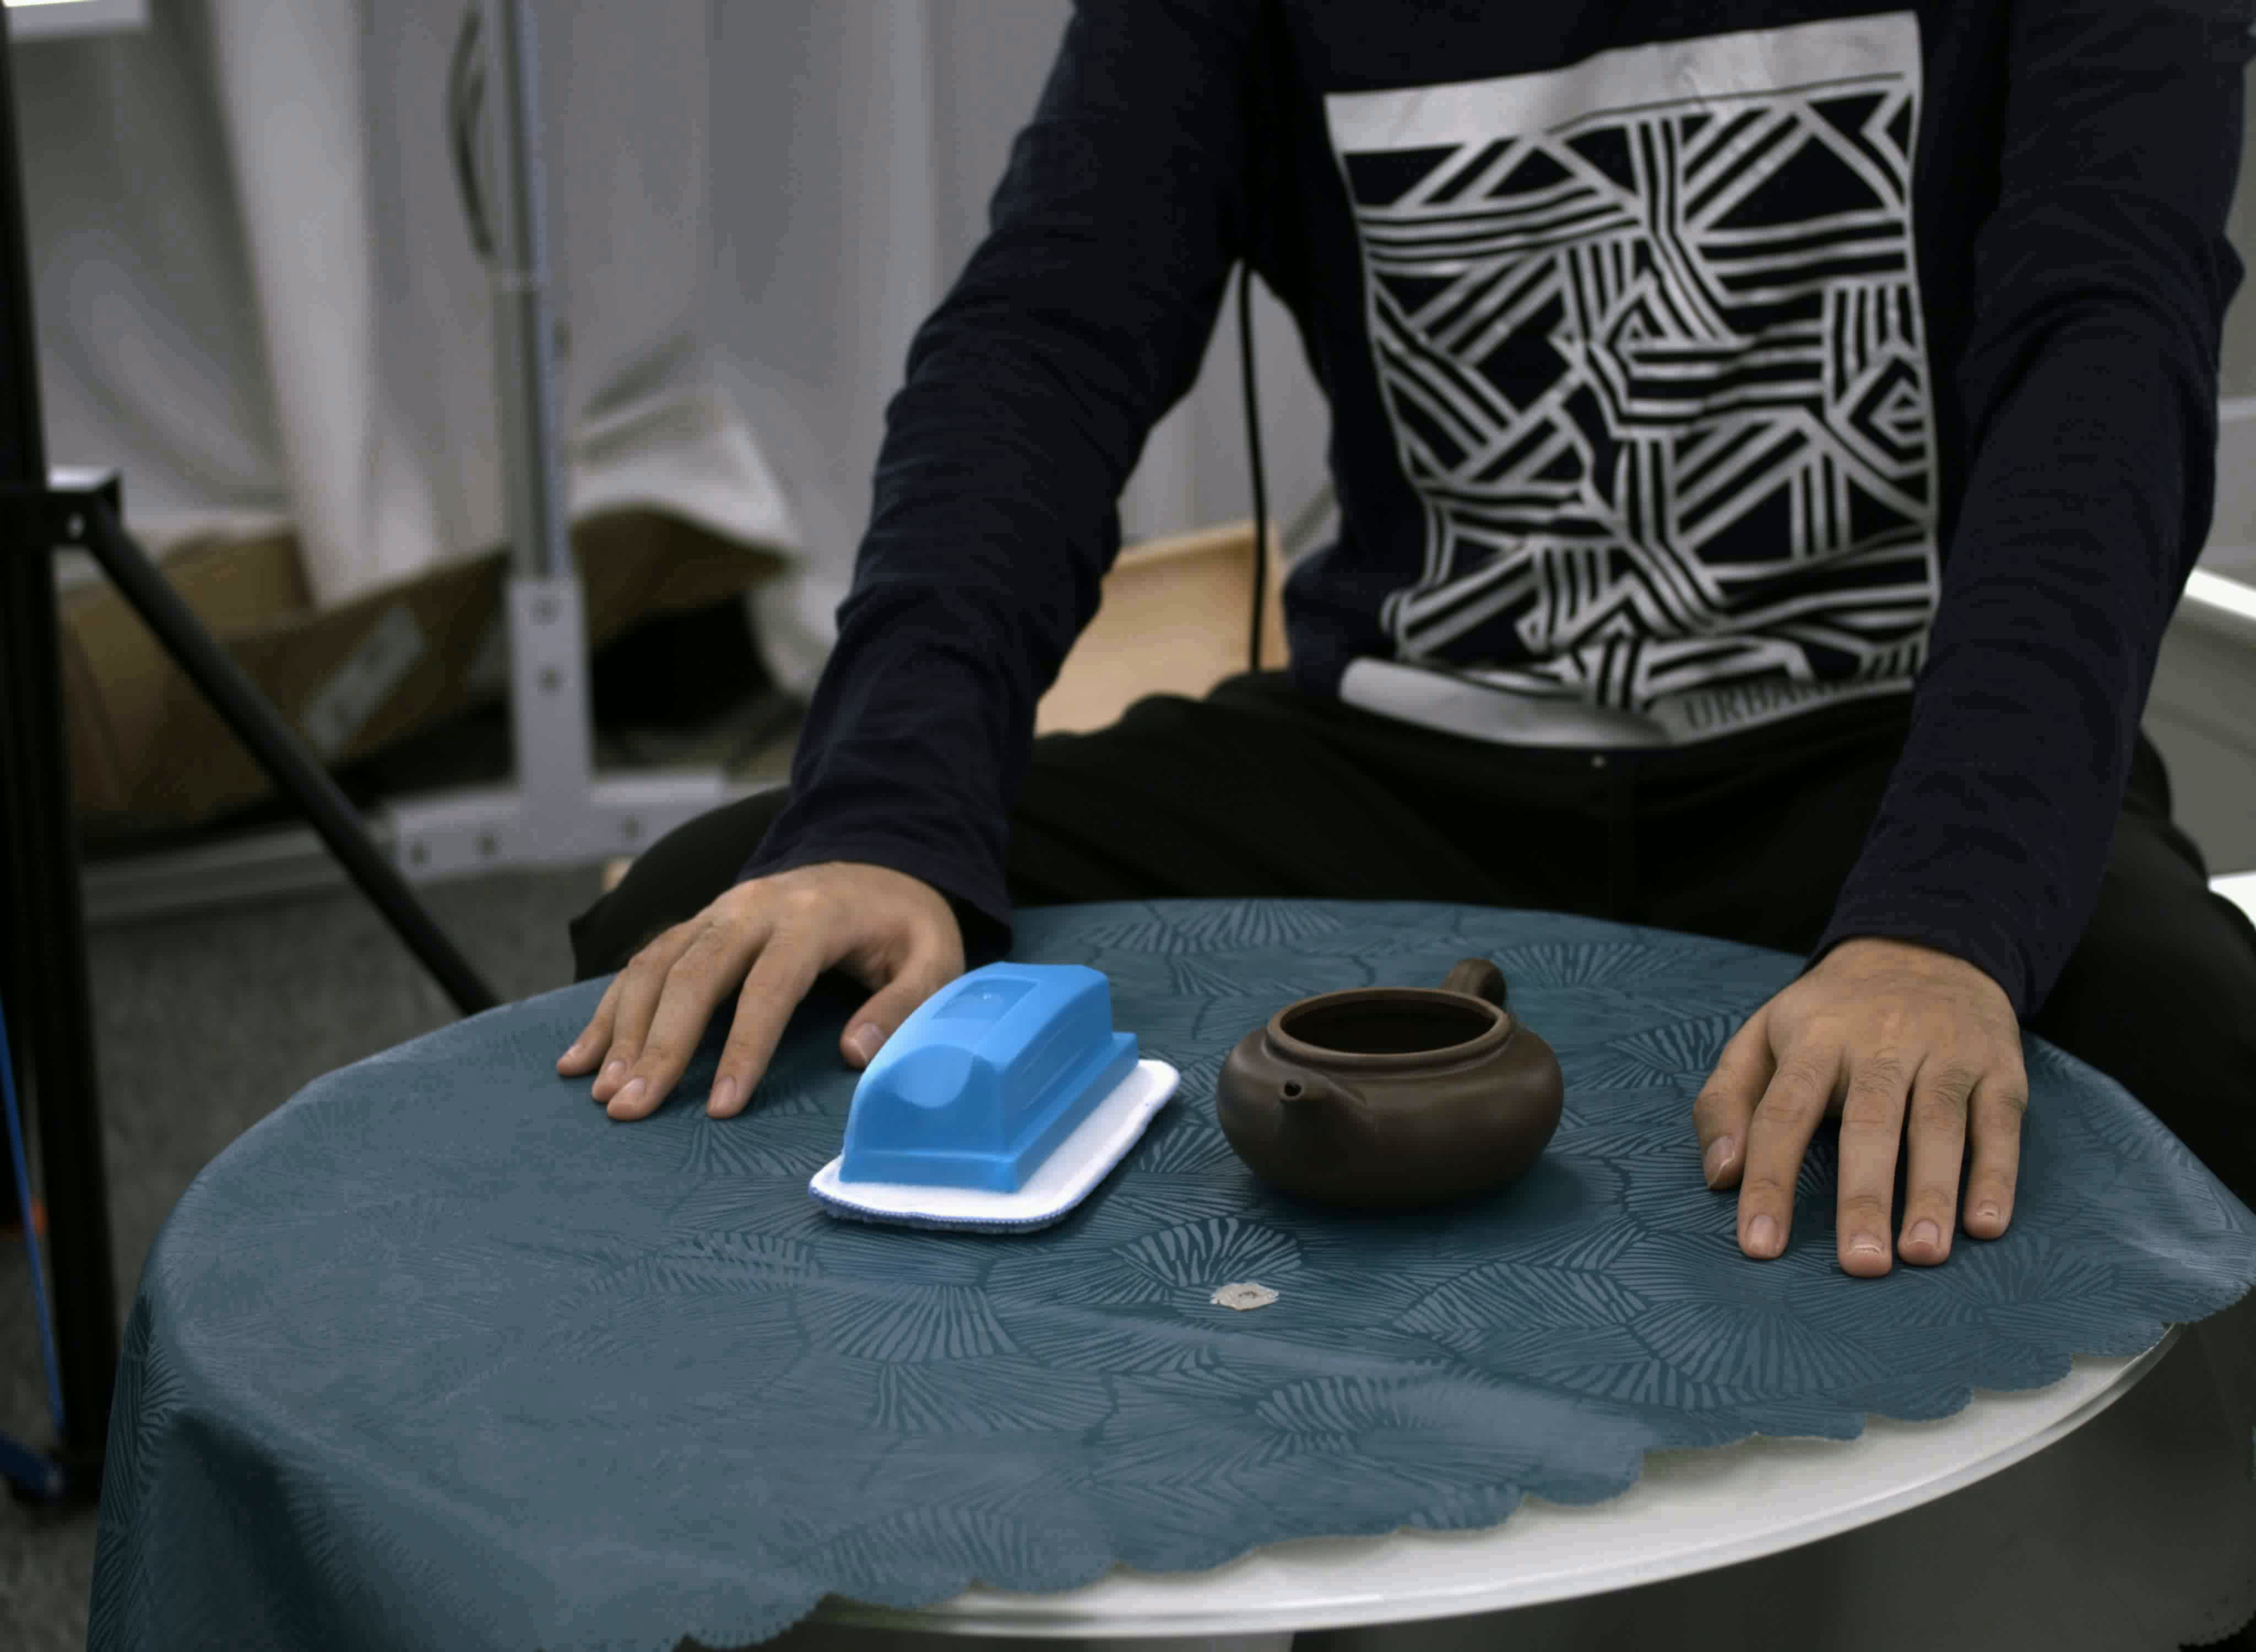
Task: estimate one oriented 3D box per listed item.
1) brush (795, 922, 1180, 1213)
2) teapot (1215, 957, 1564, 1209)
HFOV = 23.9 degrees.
[{"bbox_3d":[-0.040,0.069,1.595,0.085,0.056,0.142,6,20,19],"label":"brush"},{"bbox_3d":[0.078,0.077,1.562,0.104,0.054,0.152,5,17,19],"label":"teapot"}]
